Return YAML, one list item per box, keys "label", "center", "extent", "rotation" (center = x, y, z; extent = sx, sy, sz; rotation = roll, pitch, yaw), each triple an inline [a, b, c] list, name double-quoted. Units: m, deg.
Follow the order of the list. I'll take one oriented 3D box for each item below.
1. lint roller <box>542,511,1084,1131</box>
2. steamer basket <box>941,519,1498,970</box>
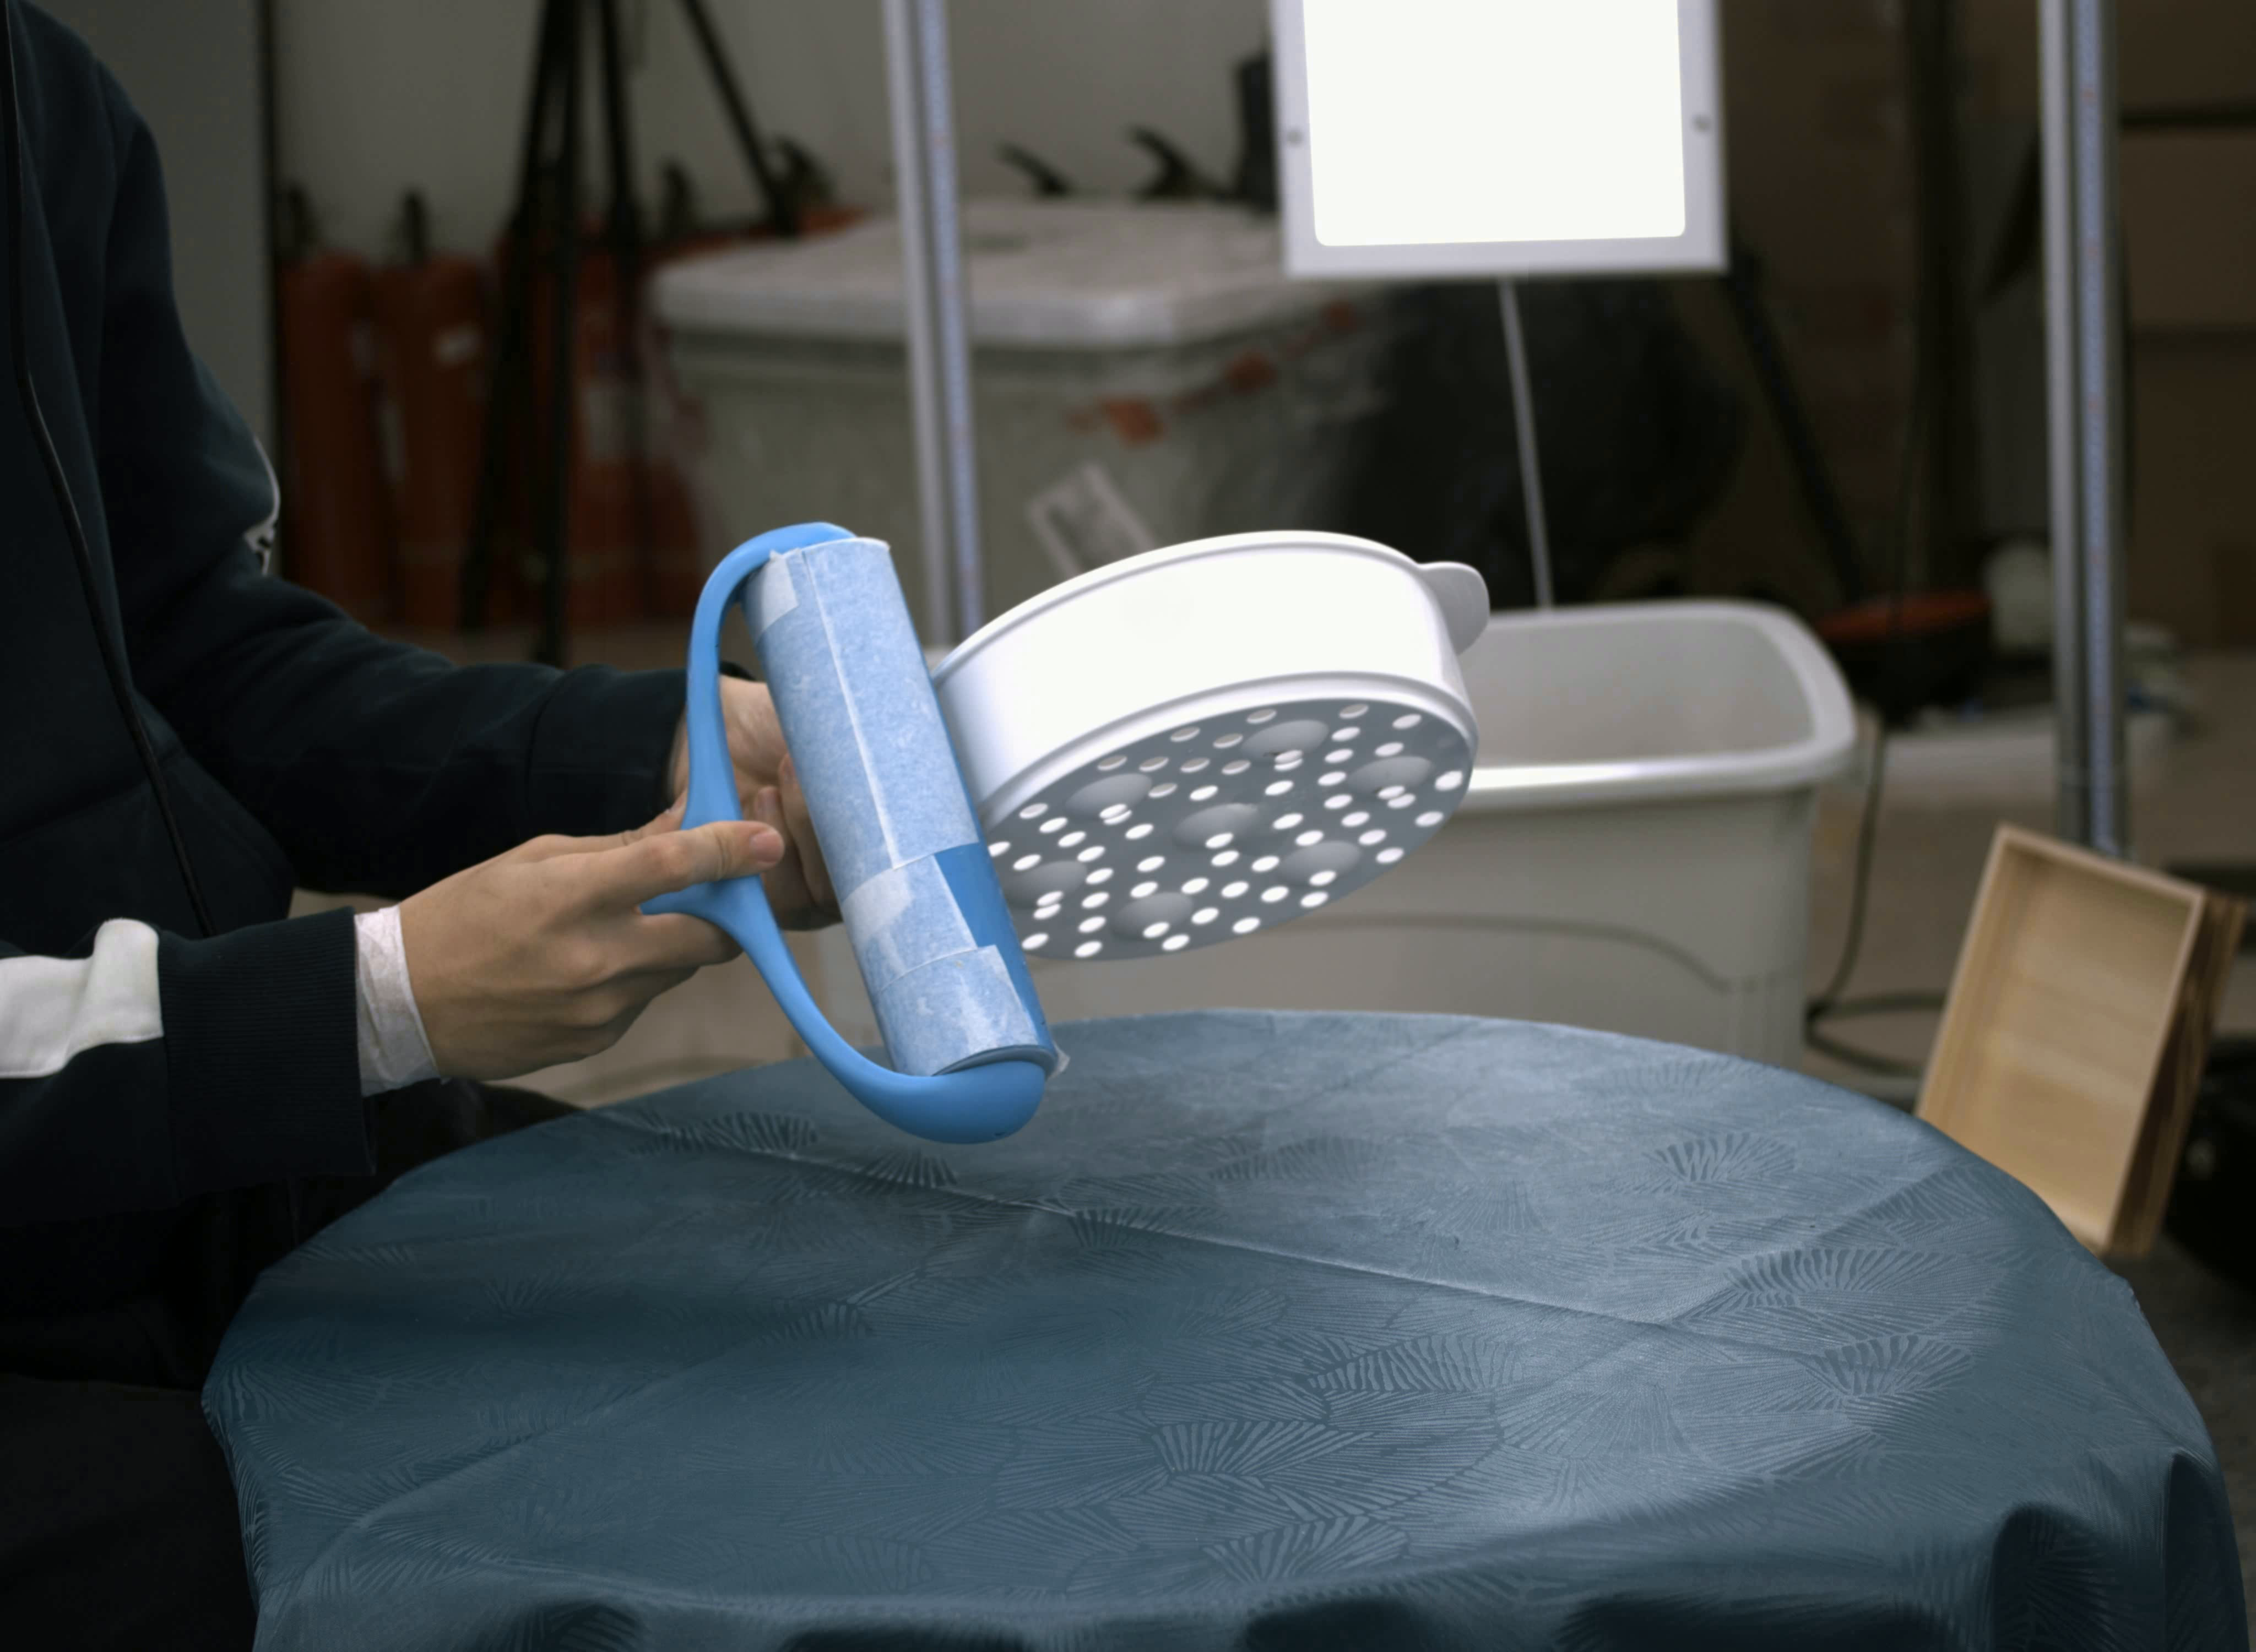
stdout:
- label: "lint roller"
  center: [-0.125, 0.023, 1.836]
  extent: [0.181, 0.230, 0.067]
  rotation: [-28, -21, 10]
- label: "steamer basket"
  center: [0.027, -0.023, 1.894]
  extent: [0.230, 0.069, 0.201]
  rotation: [-19, -26, 2]
